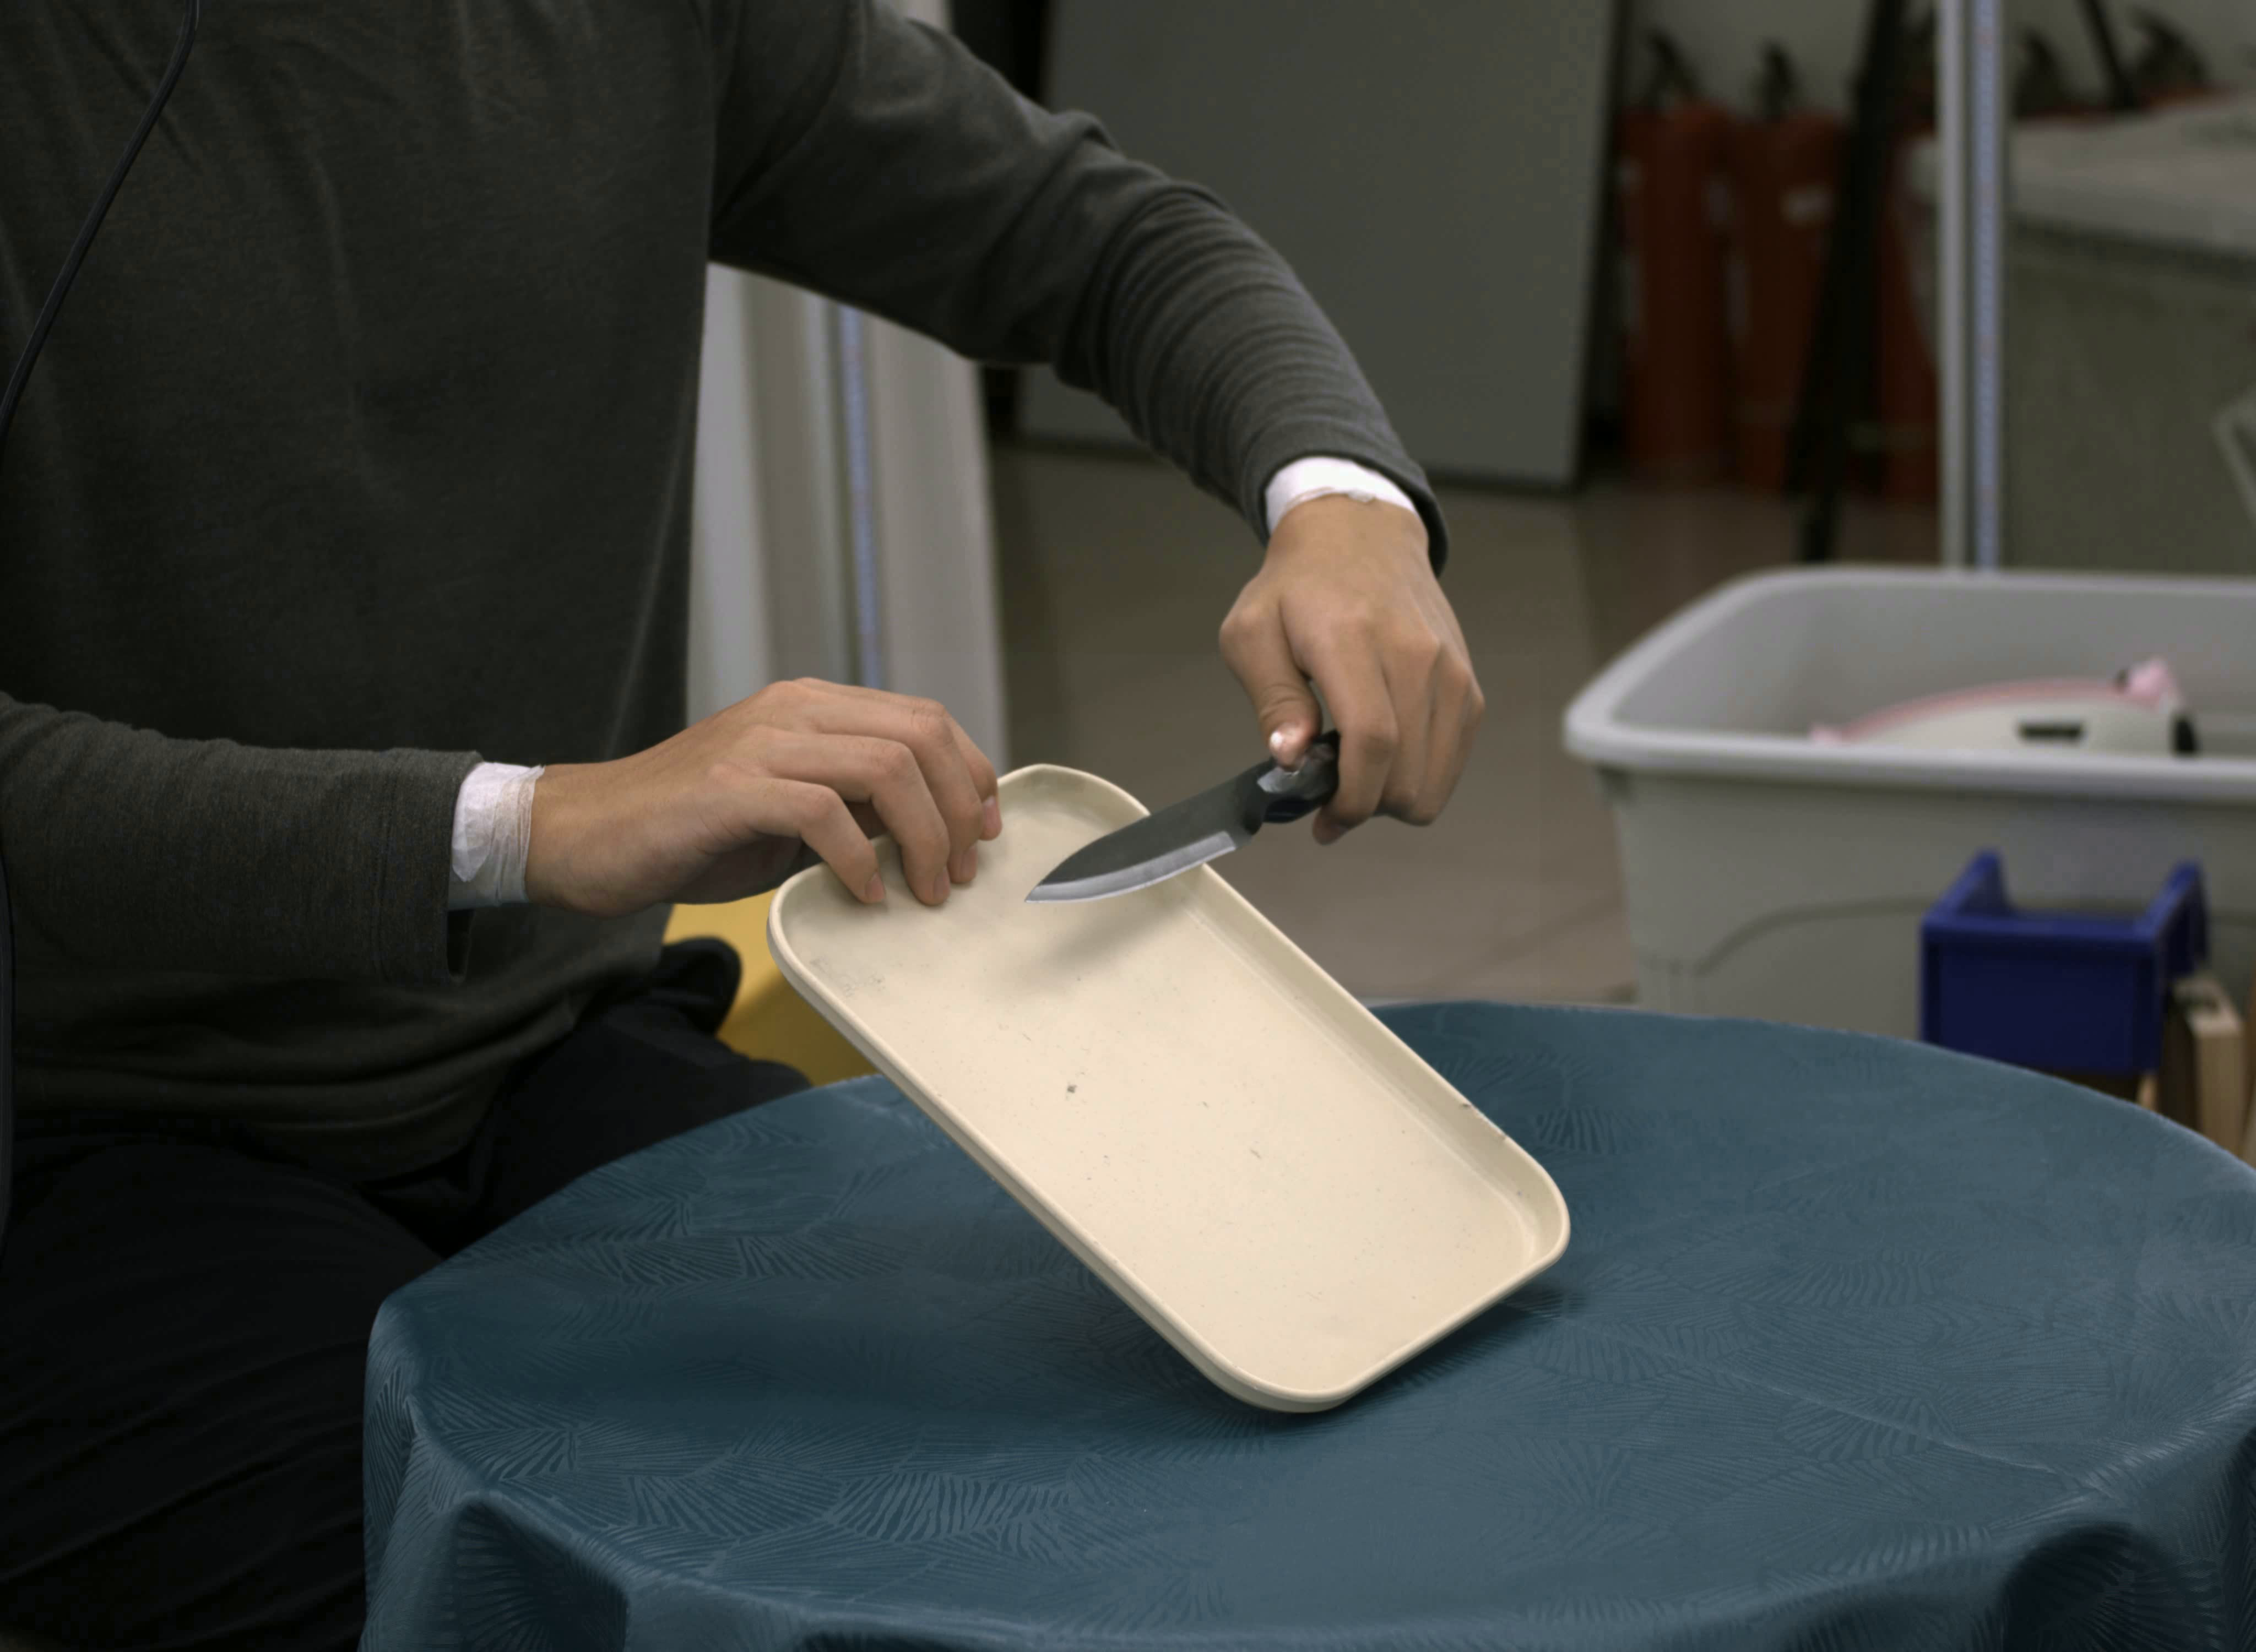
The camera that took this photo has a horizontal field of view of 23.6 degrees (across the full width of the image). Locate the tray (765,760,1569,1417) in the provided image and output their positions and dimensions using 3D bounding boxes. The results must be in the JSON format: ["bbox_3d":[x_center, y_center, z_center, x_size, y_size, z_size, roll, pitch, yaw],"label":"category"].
[{"bbox_3d":[0.011,0.077,1.639,0.241,0.017,0.168,42,40,21],"label":"tray"}]

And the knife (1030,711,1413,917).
[{"bbox_3d":[0.030,-0.004,1.736,0.016,0.024,0.234,-44,-10,33],"label":"knife"}]
